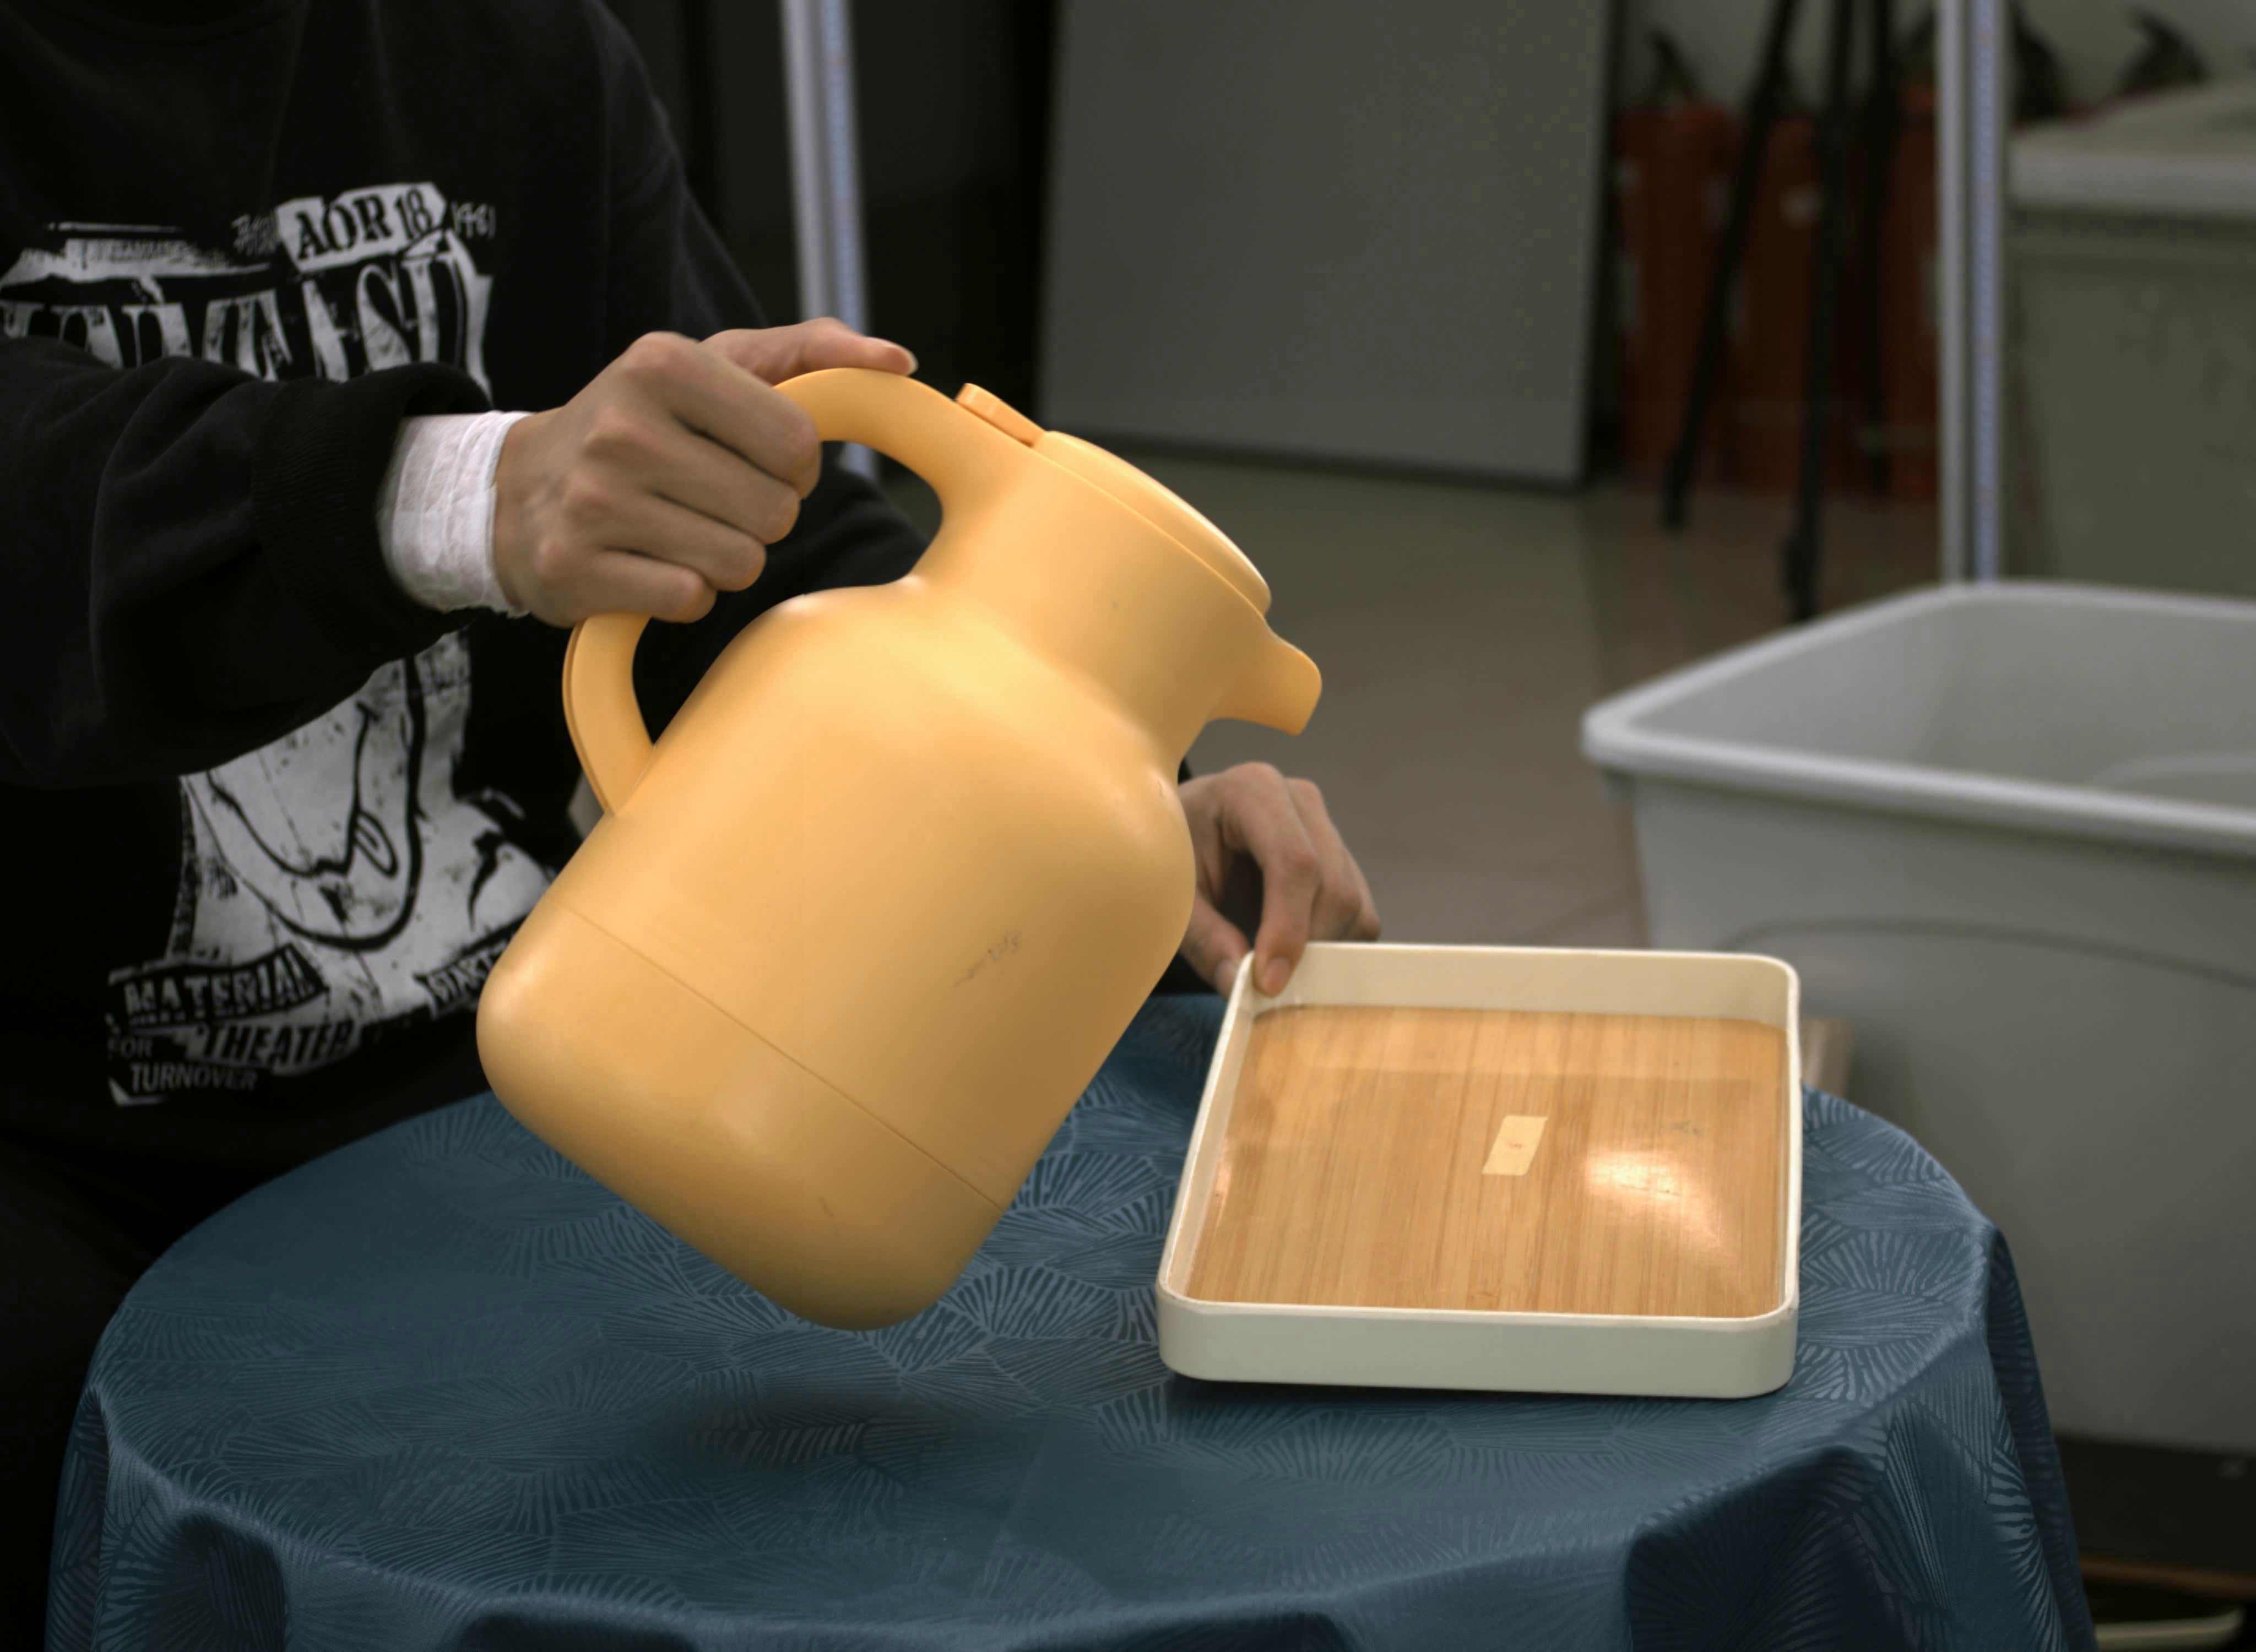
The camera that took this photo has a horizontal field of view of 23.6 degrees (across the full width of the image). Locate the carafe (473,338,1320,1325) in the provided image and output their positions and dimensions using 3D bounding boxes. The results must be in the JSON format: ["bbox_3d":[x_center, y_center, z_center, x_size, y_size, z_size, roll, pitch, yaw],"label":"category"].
[{"bbox_3d":[-0.079,-0.008,1.564,0.201,0.261,0.164,36,-8,-6],"label":"carafe"}]

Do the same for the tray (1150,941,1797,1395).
[{"bbox_3d":[0.115,0.102,1.692,0.190,0.028,0.299,1,19,8],"label":"tray"}]
